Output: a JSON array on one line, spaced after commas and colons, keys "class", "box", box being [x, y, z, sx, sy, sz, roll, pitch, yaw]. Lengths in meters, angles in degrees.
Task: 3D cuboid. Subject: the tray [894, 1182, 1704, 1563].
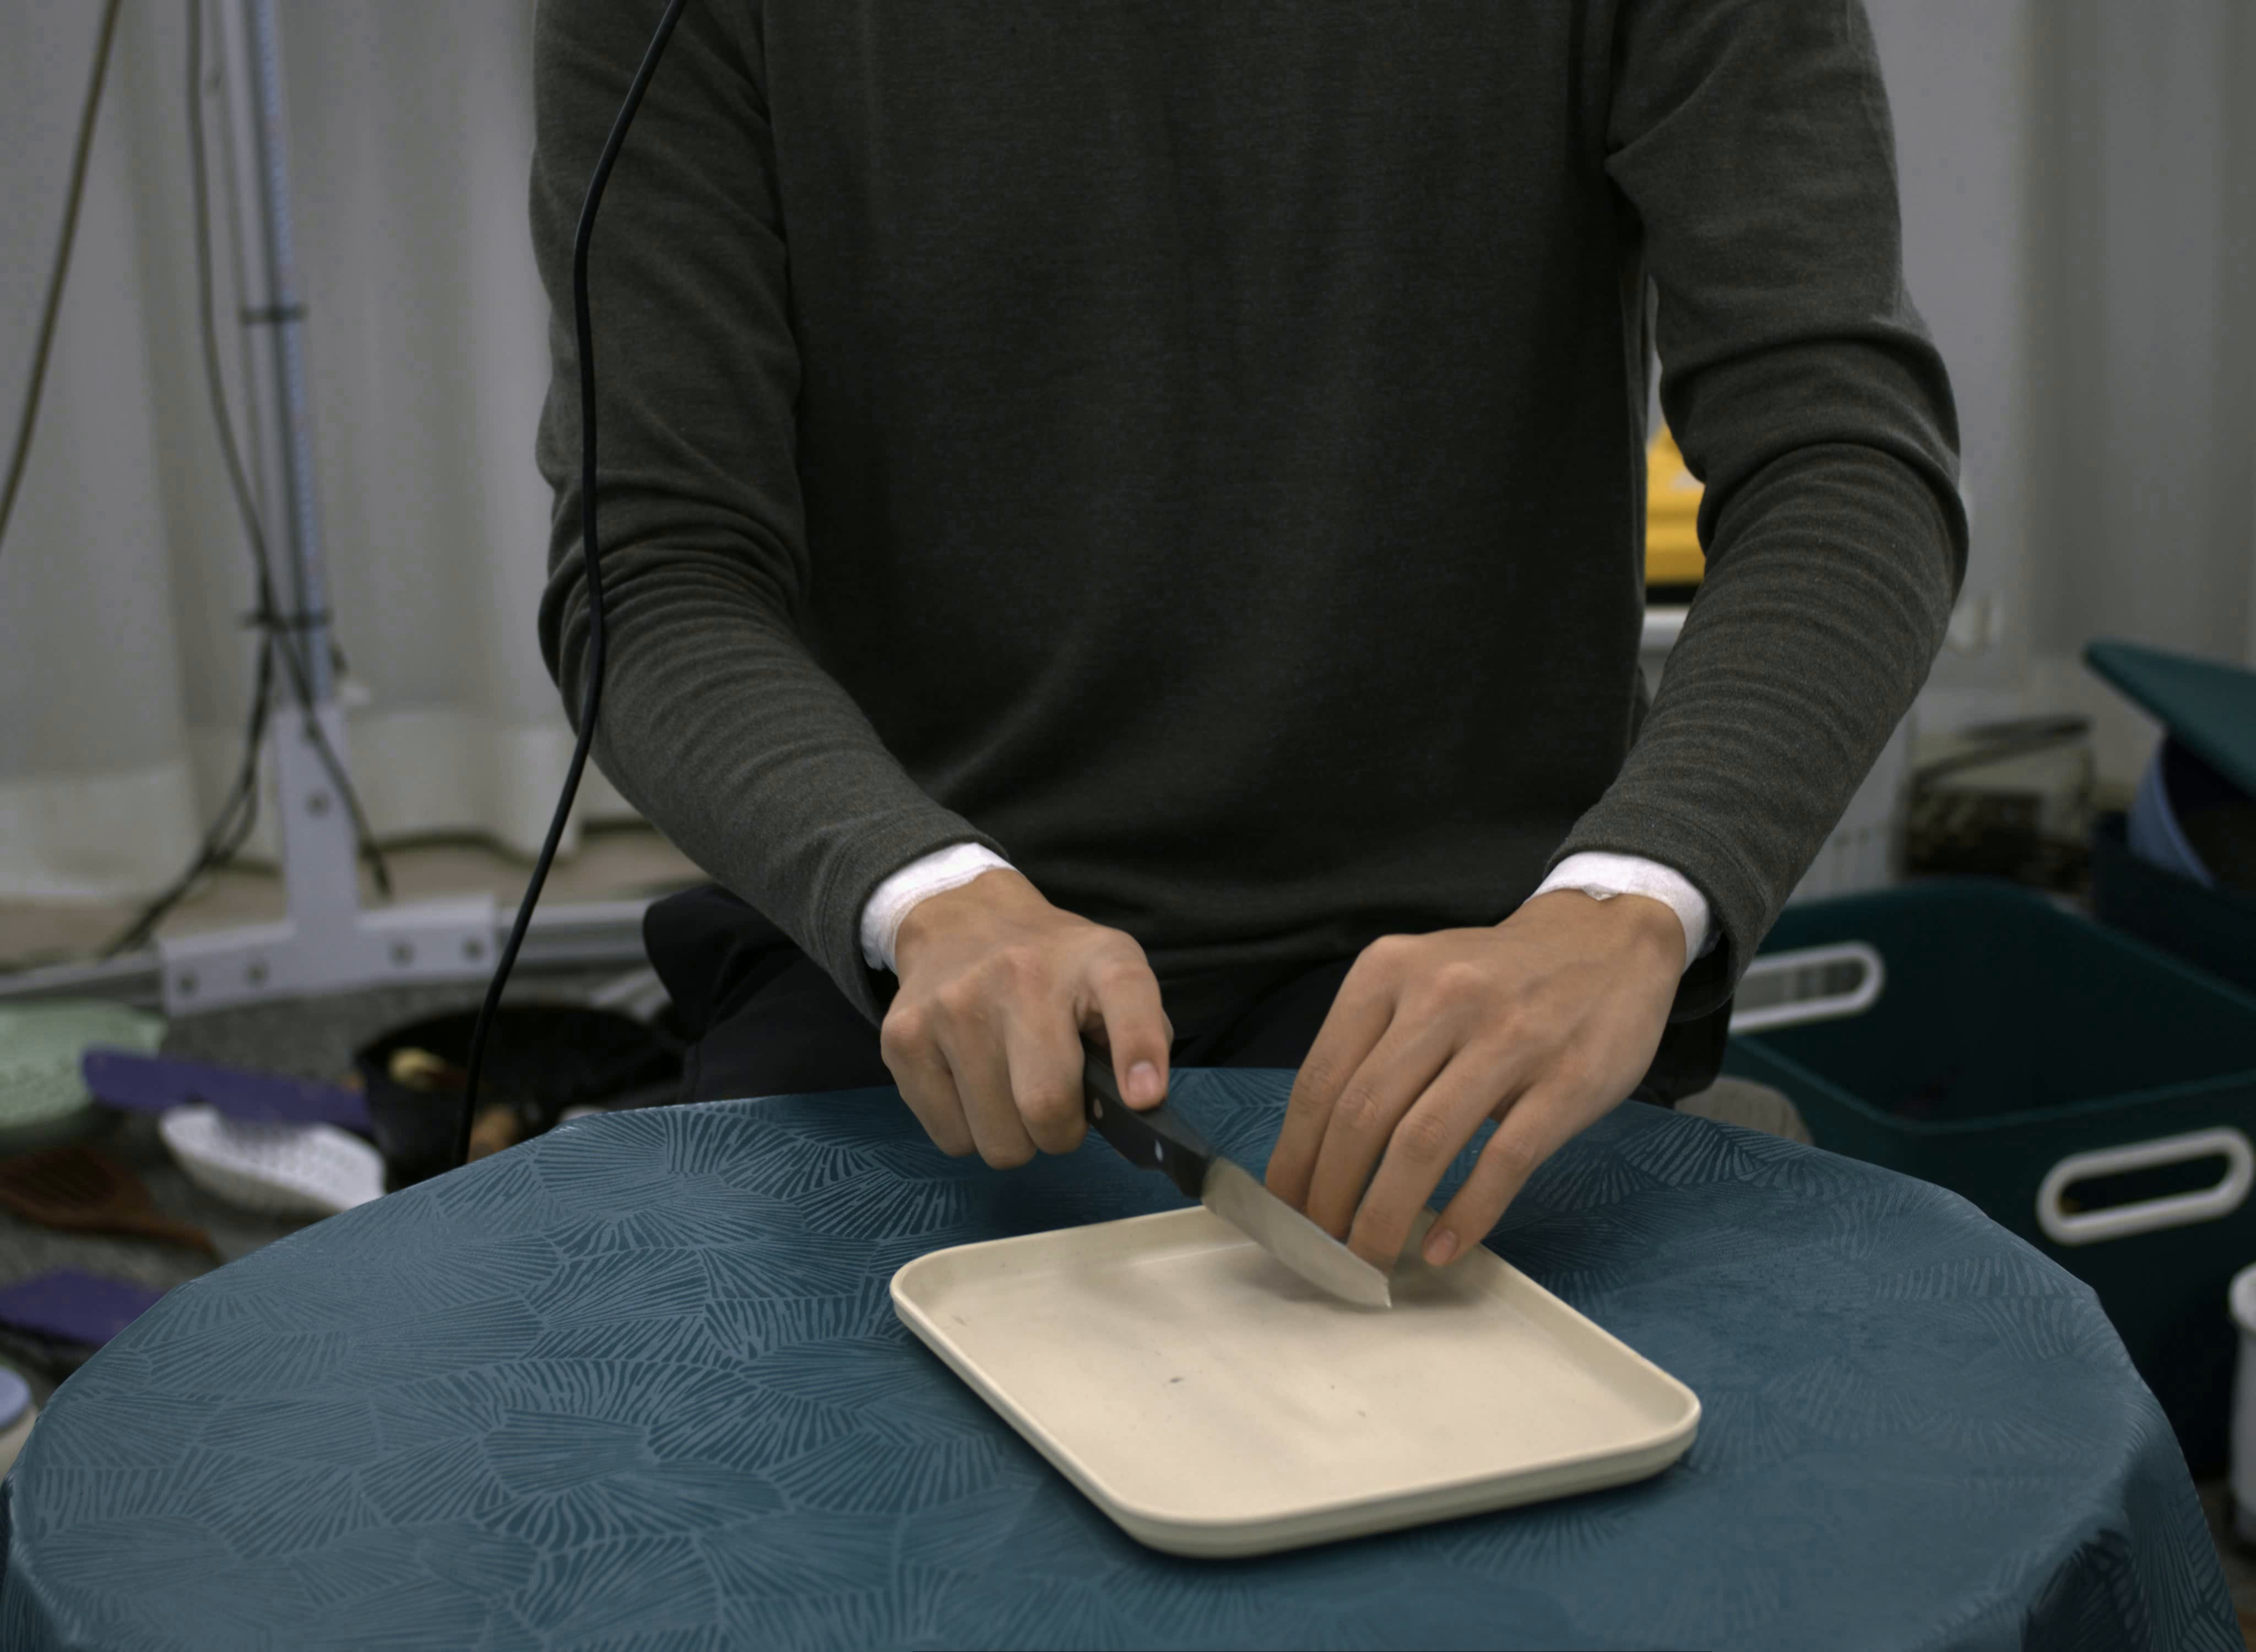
[{"class": "tray", "box": [0.044, 0.151, 1.536, 0.170, 0.017, 0.241, -9, 16, -19]}]

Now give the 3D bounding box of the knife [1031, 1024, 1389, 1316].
[{"class": "knife", "box": [0.022, 0.097, 1.565, 0.016, 0.024, 0.240, -12, 19, -21]}]
